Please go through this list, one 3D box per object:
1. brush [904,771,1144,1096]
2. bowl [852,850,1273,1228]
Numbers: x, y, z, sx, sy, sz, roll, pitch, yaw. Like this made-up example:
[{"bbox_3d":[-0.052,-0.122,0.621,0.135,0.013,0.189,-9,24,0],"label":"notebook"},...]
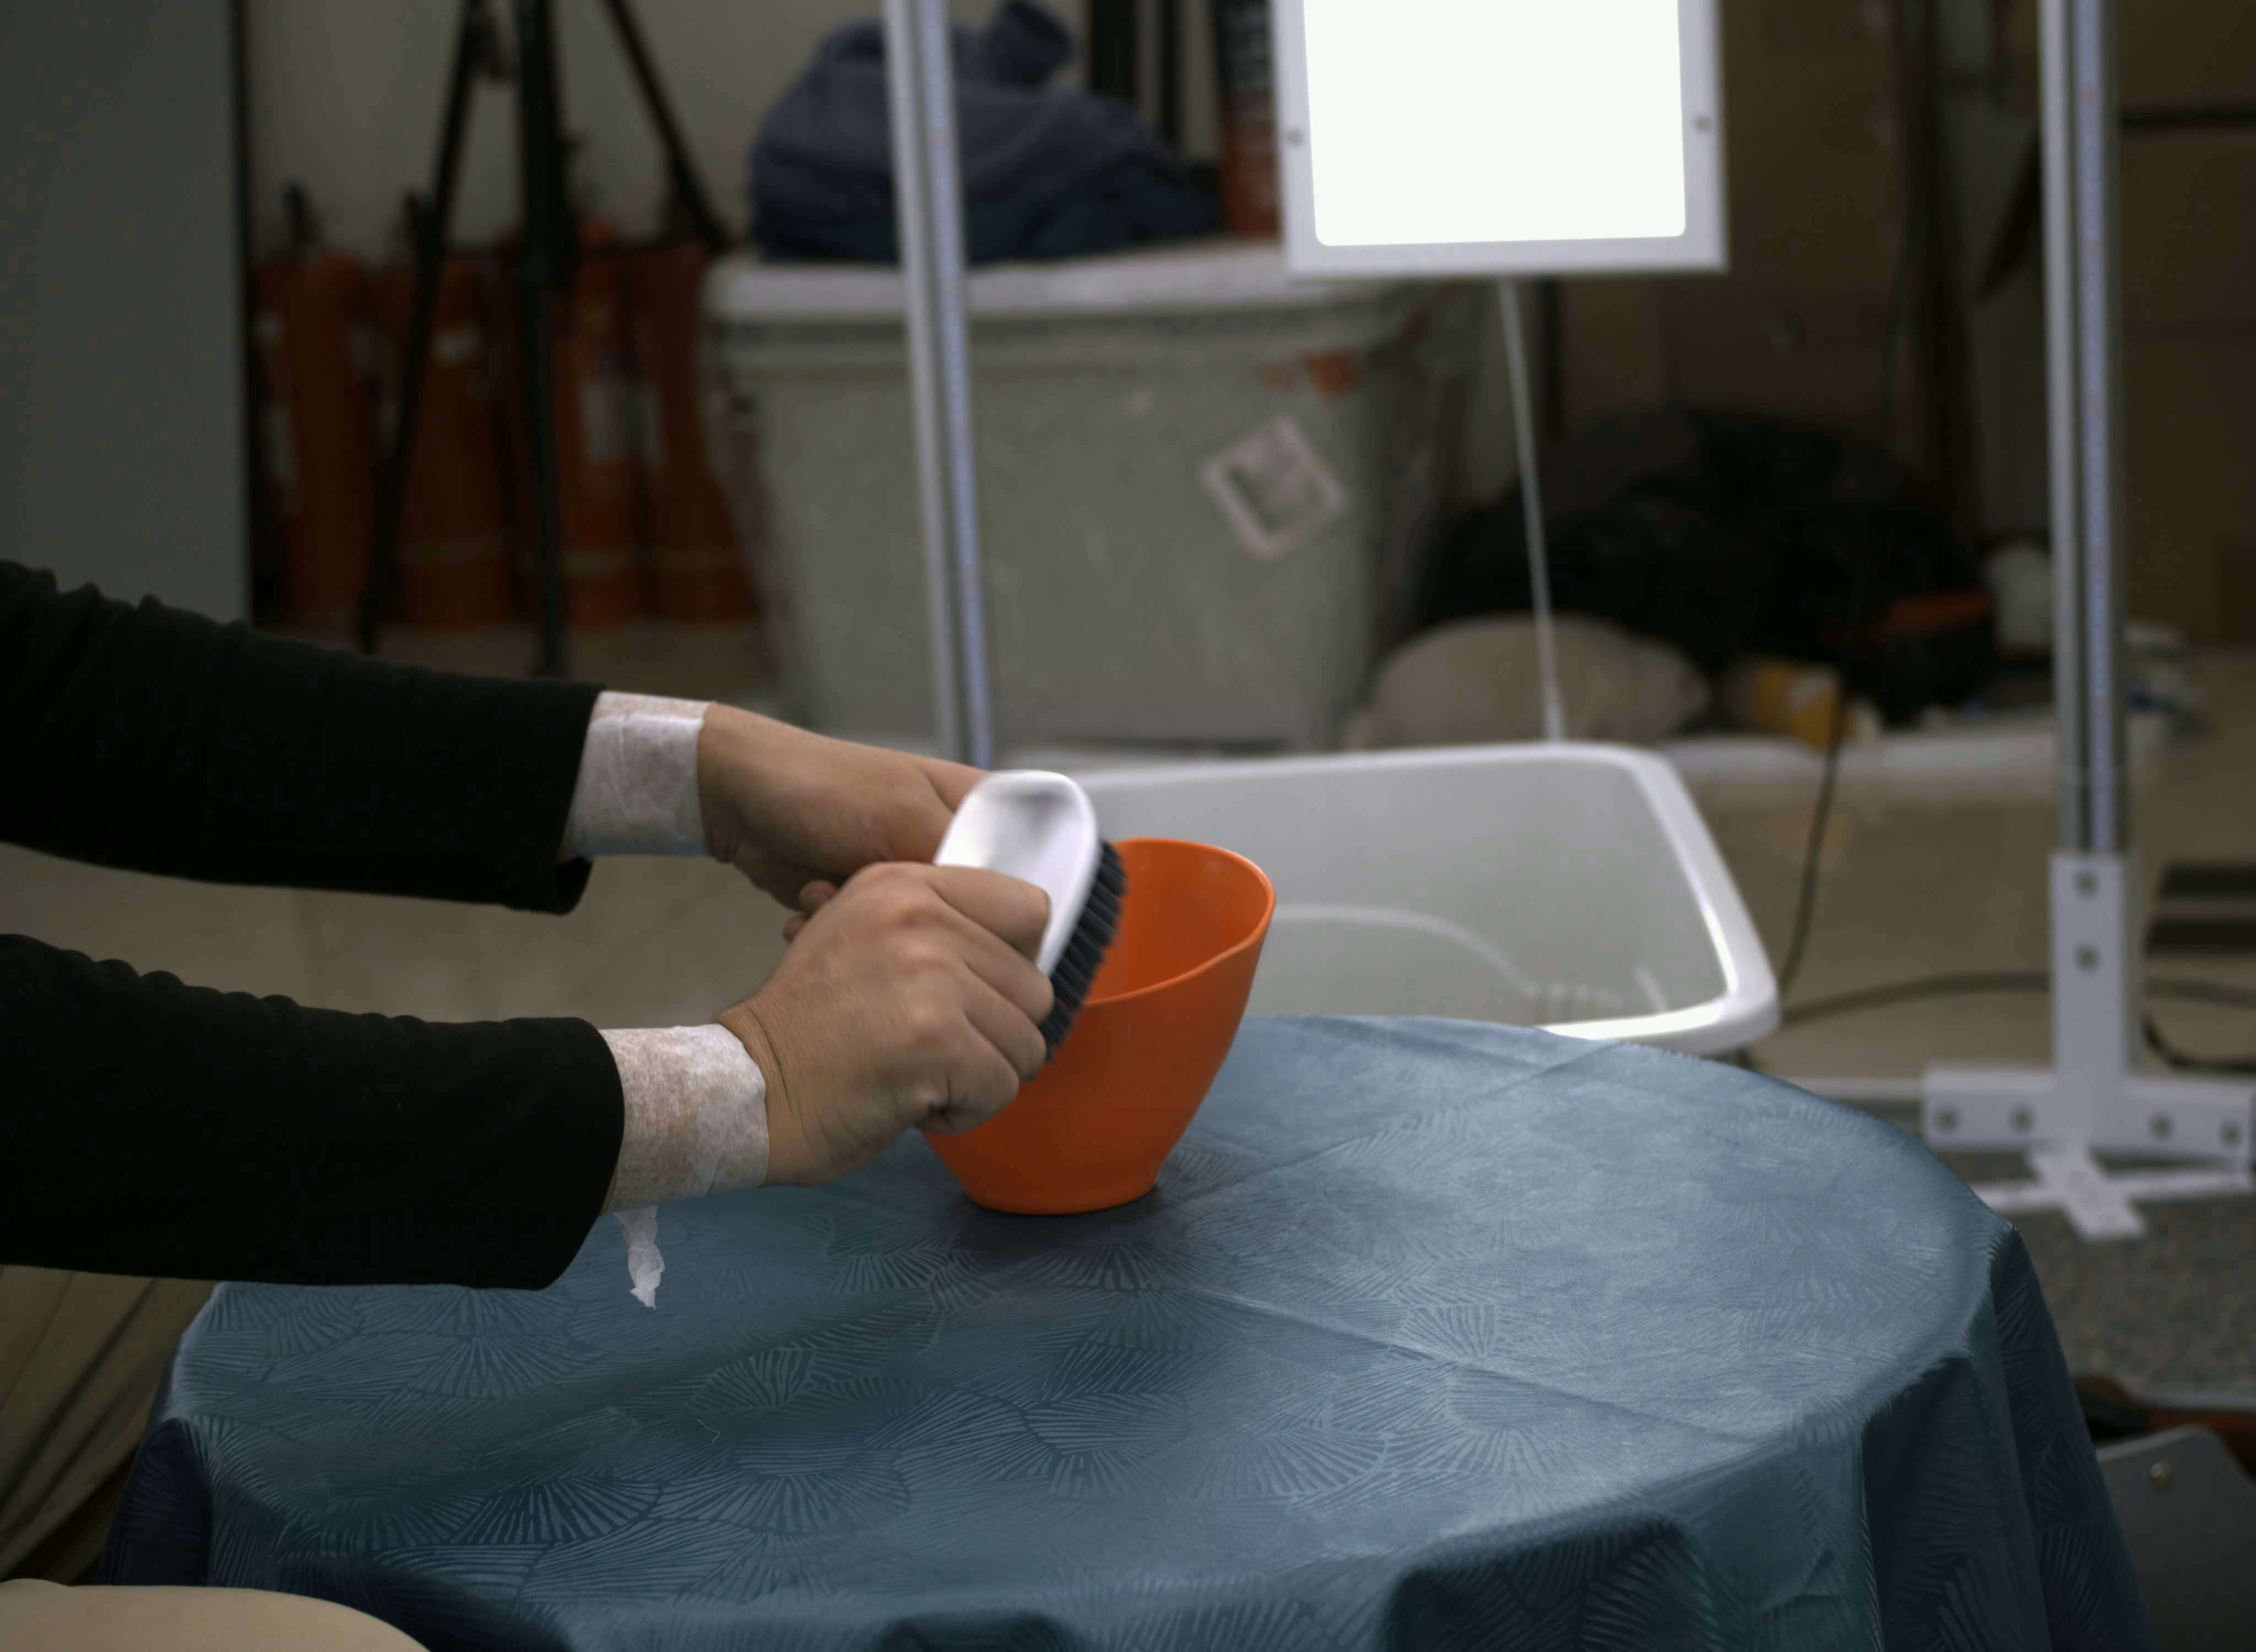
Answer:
[{"bbox_3d":[-0.039,0.028,1.772,0.051,0.072,0.098,18,66,29],"label":"brush"},{"bbox_3d":[-0.019,0.077,1.904,0.147,0.105,0.148,-6,13,0],"label":"bowl"}]
